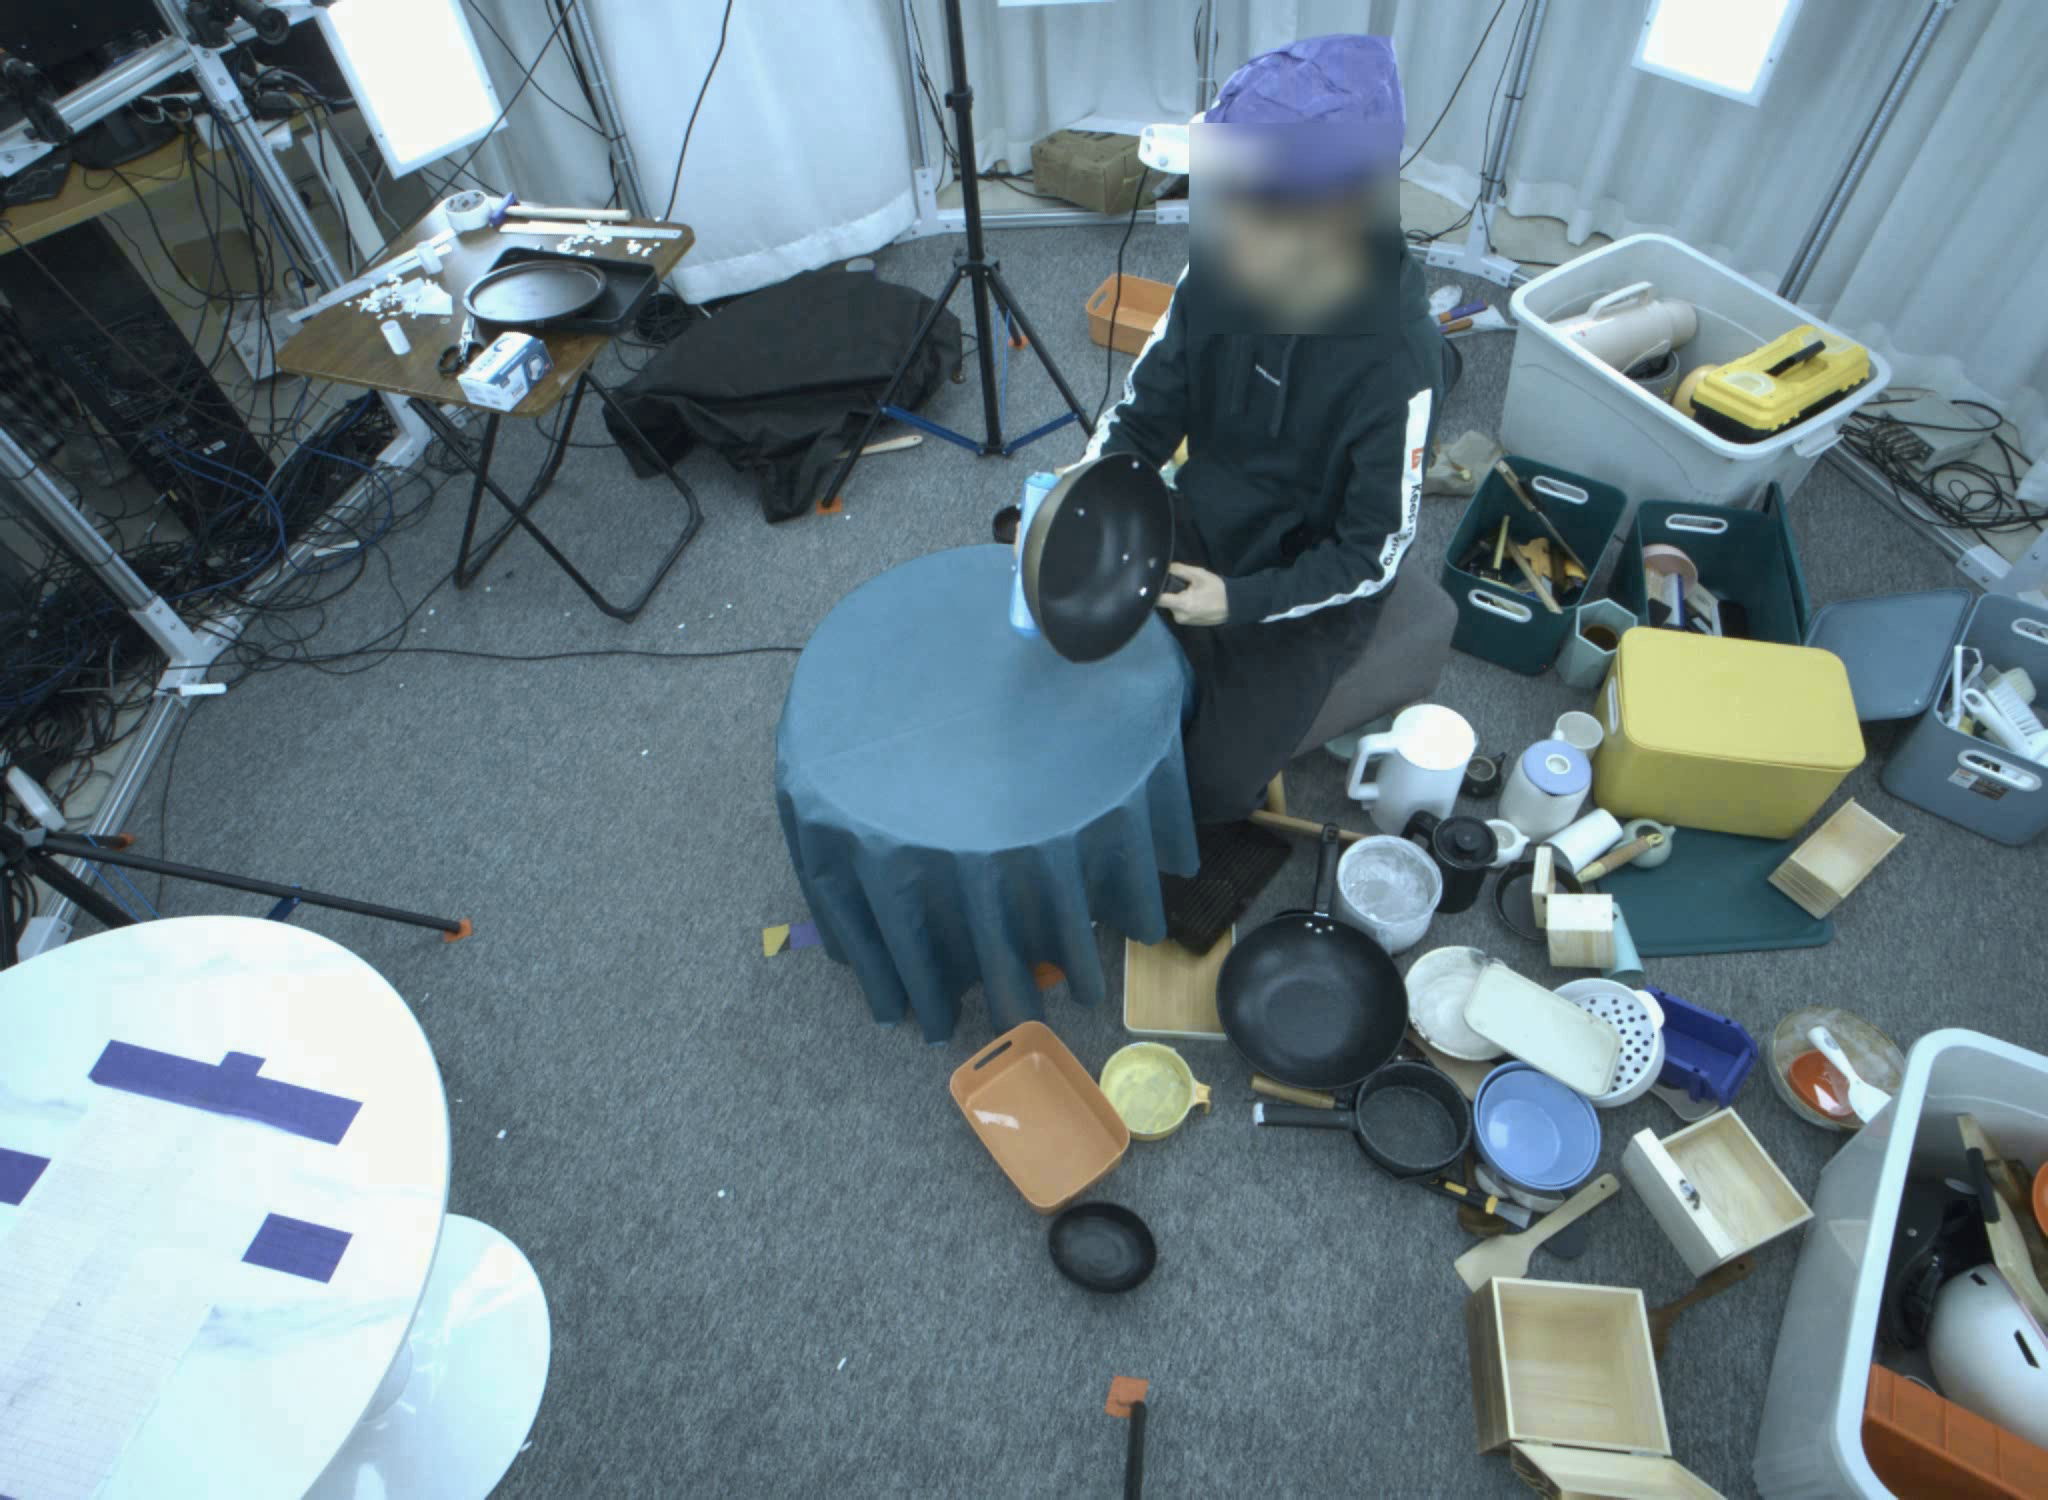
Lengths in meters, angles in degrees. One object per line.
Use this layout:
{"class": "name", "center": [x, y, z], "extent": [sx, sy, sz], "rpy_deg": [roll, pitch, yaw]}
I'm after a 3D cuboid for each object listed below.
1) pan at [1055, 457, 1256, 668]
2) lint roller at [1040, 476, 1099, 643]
{"class": "pan", "center": [0.186, -0.243, 1.702], "extent": [0.085, 0.474, 0.288], "rpy_deg": [25, 98, 37]}
{"class": "lint roller", "center": [0.069, -0.272, 1.716], "extent": [0.068, 0.230, 0.180], "rpy_deg": [9, 17, 4]}
